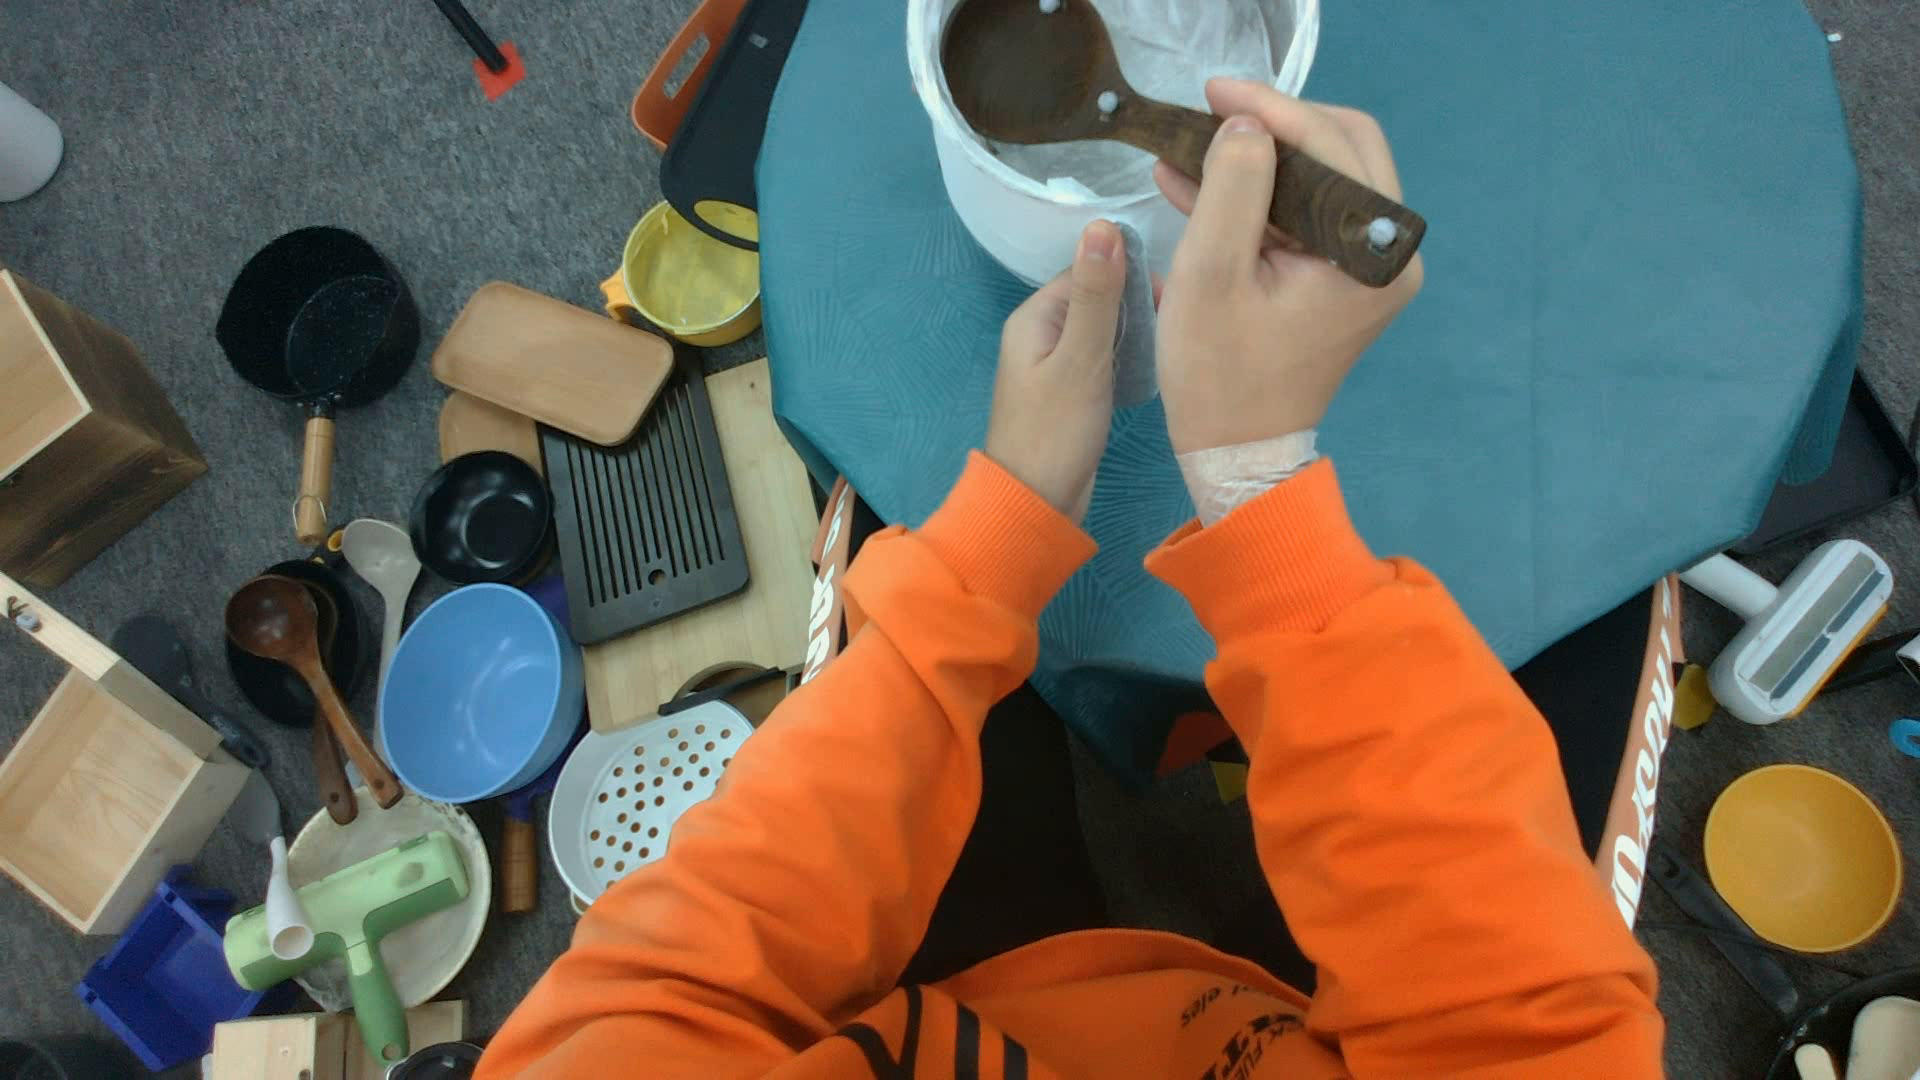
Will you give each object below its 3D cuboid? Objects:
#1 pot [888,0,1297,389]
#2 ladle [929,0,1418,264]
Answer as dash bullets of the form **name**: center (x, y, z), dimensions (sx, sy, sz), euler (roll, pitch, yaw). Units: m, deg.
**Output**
- **pot**: center (0.066, -0.195, 0.652), dimensions (0.178, 0.136, 0.234), euler (-4, 78, 7)
- **ladle**: center (0.063, -0.172, 0.513), dimensions (0.076, 0.071, 0.274), euler (-57, 34, 16)
